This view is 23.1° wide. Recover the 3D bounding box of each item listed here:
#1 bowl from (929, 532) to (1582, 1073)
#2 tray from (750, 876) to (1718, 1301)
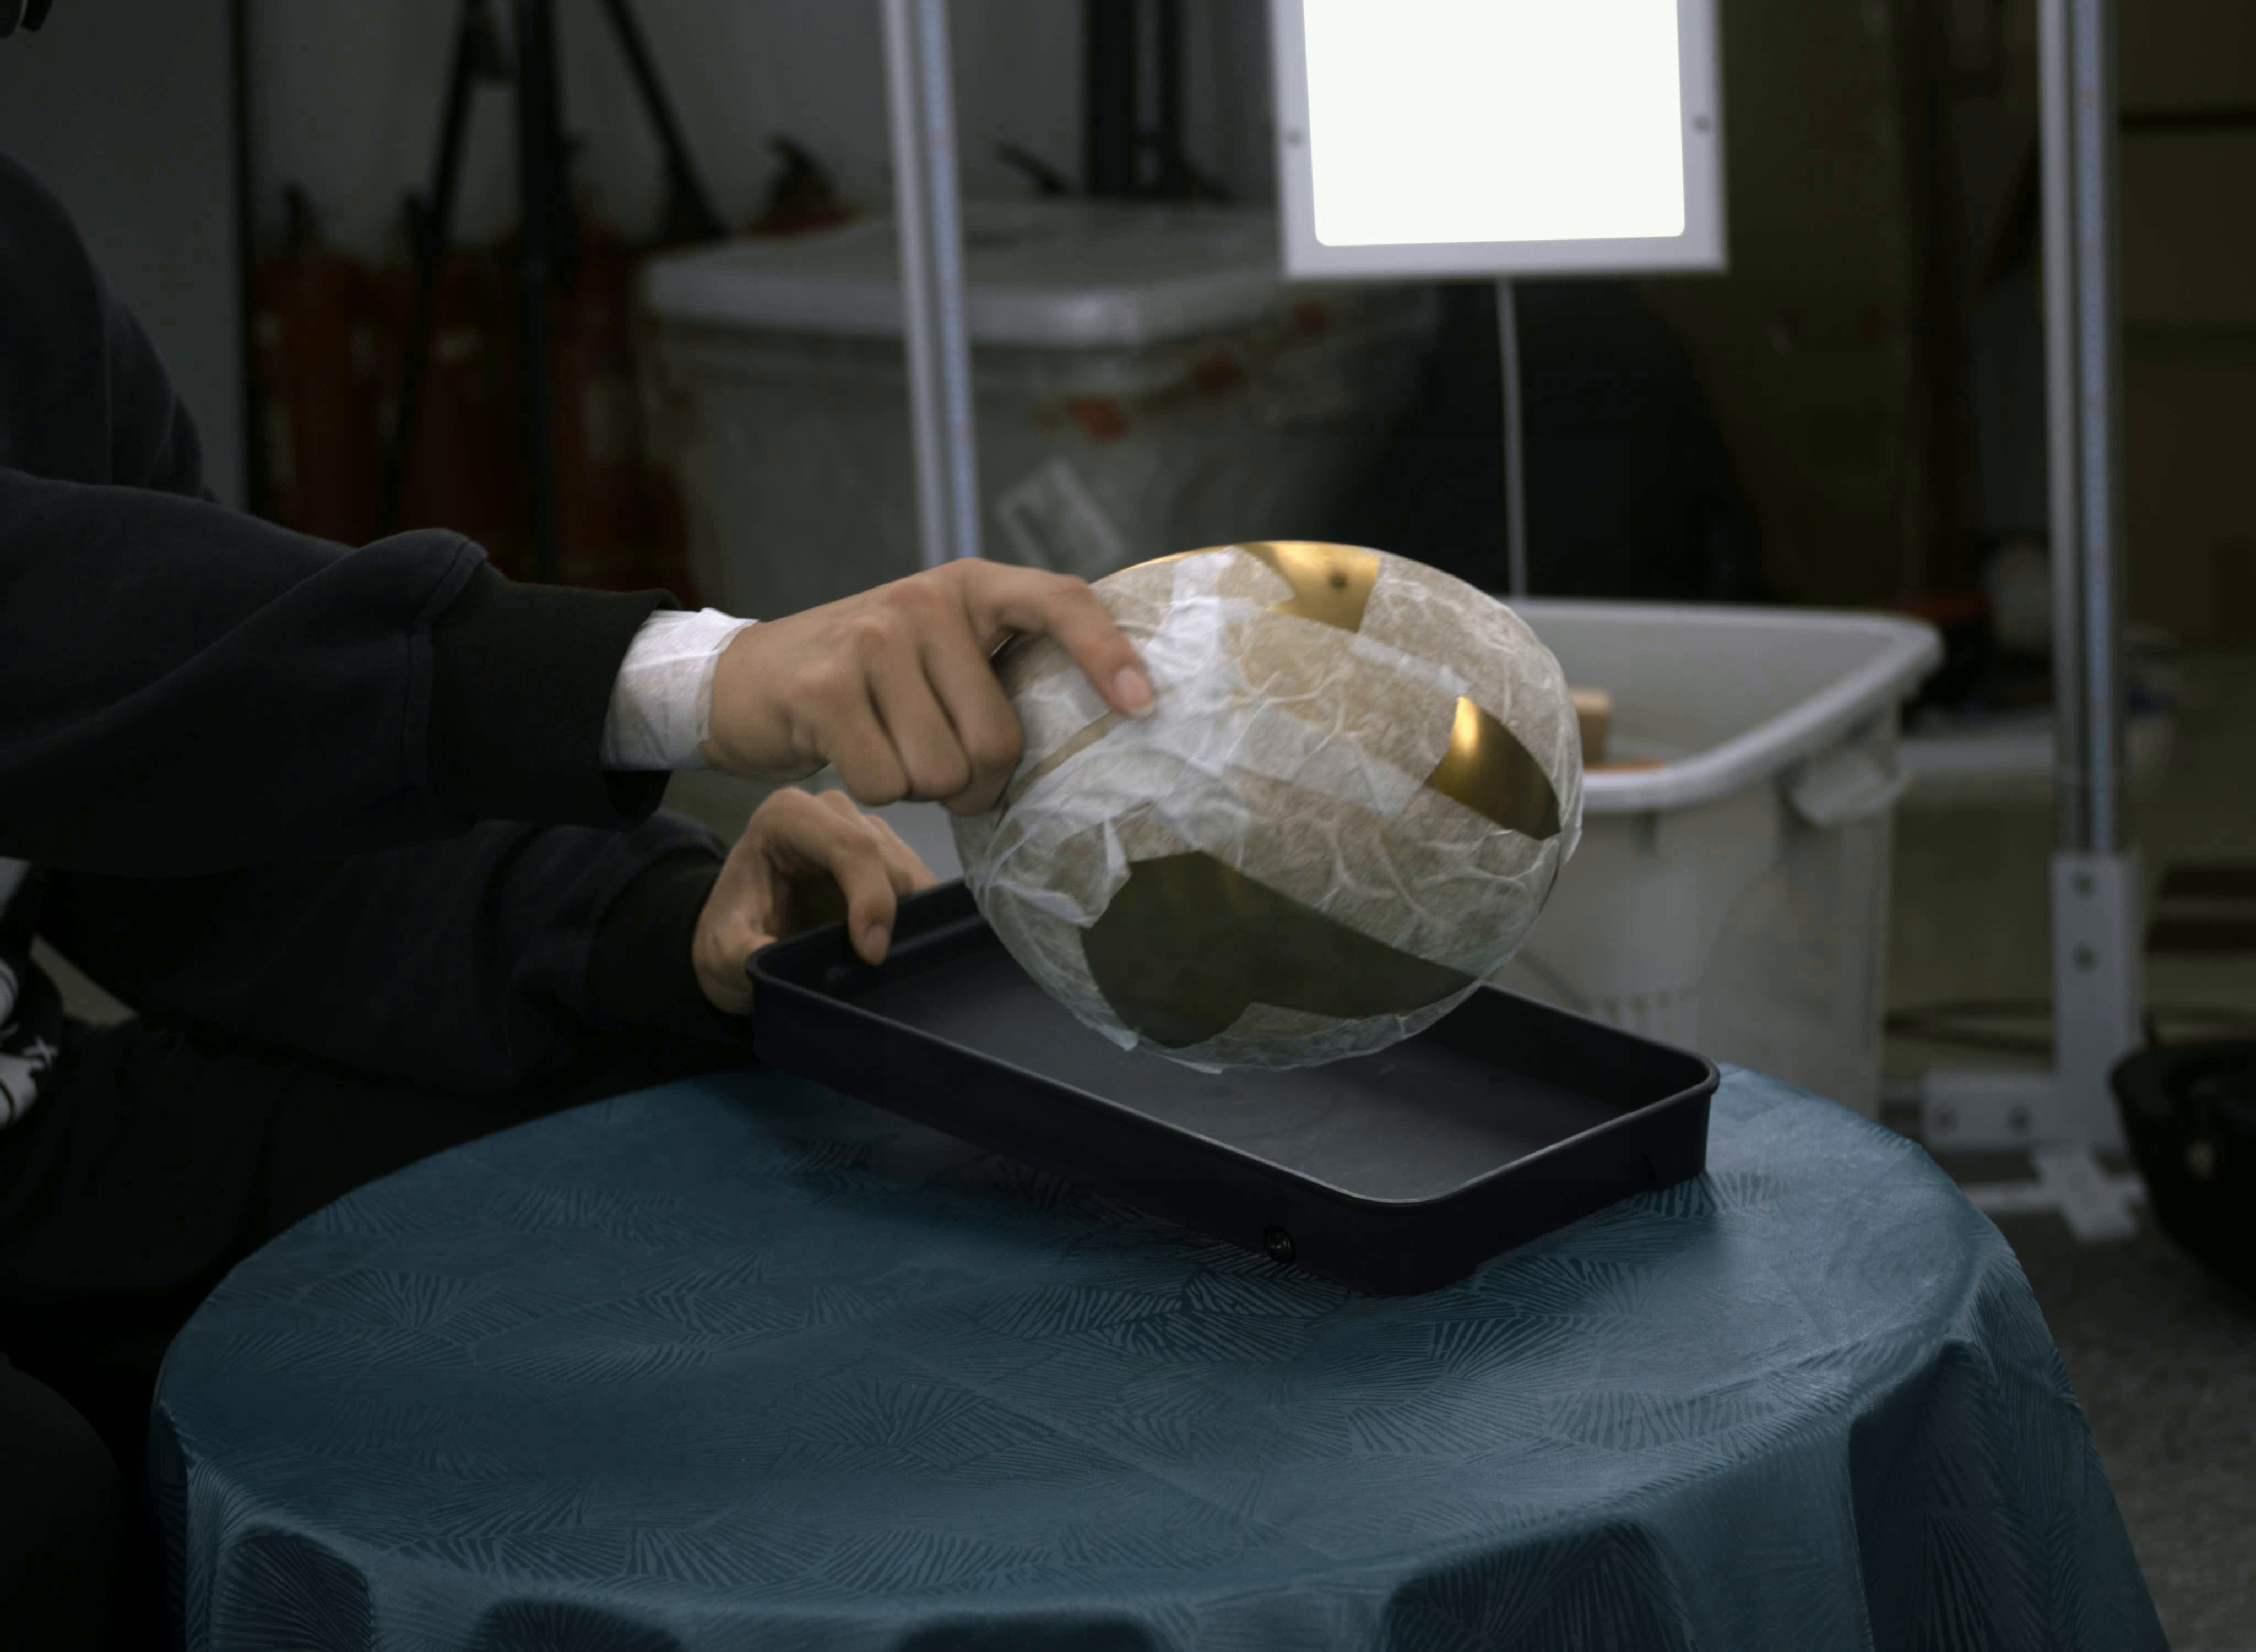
[{"bbox_3d":[0.040,0.014,1.709,0.214,0.215,0.094,-3,50,3],"label":"bowl"},{"bbox_3d":[0.033,0.081,1.912,0.179,0.037,0.324,-17,27,-42],"label":"tray"}]
